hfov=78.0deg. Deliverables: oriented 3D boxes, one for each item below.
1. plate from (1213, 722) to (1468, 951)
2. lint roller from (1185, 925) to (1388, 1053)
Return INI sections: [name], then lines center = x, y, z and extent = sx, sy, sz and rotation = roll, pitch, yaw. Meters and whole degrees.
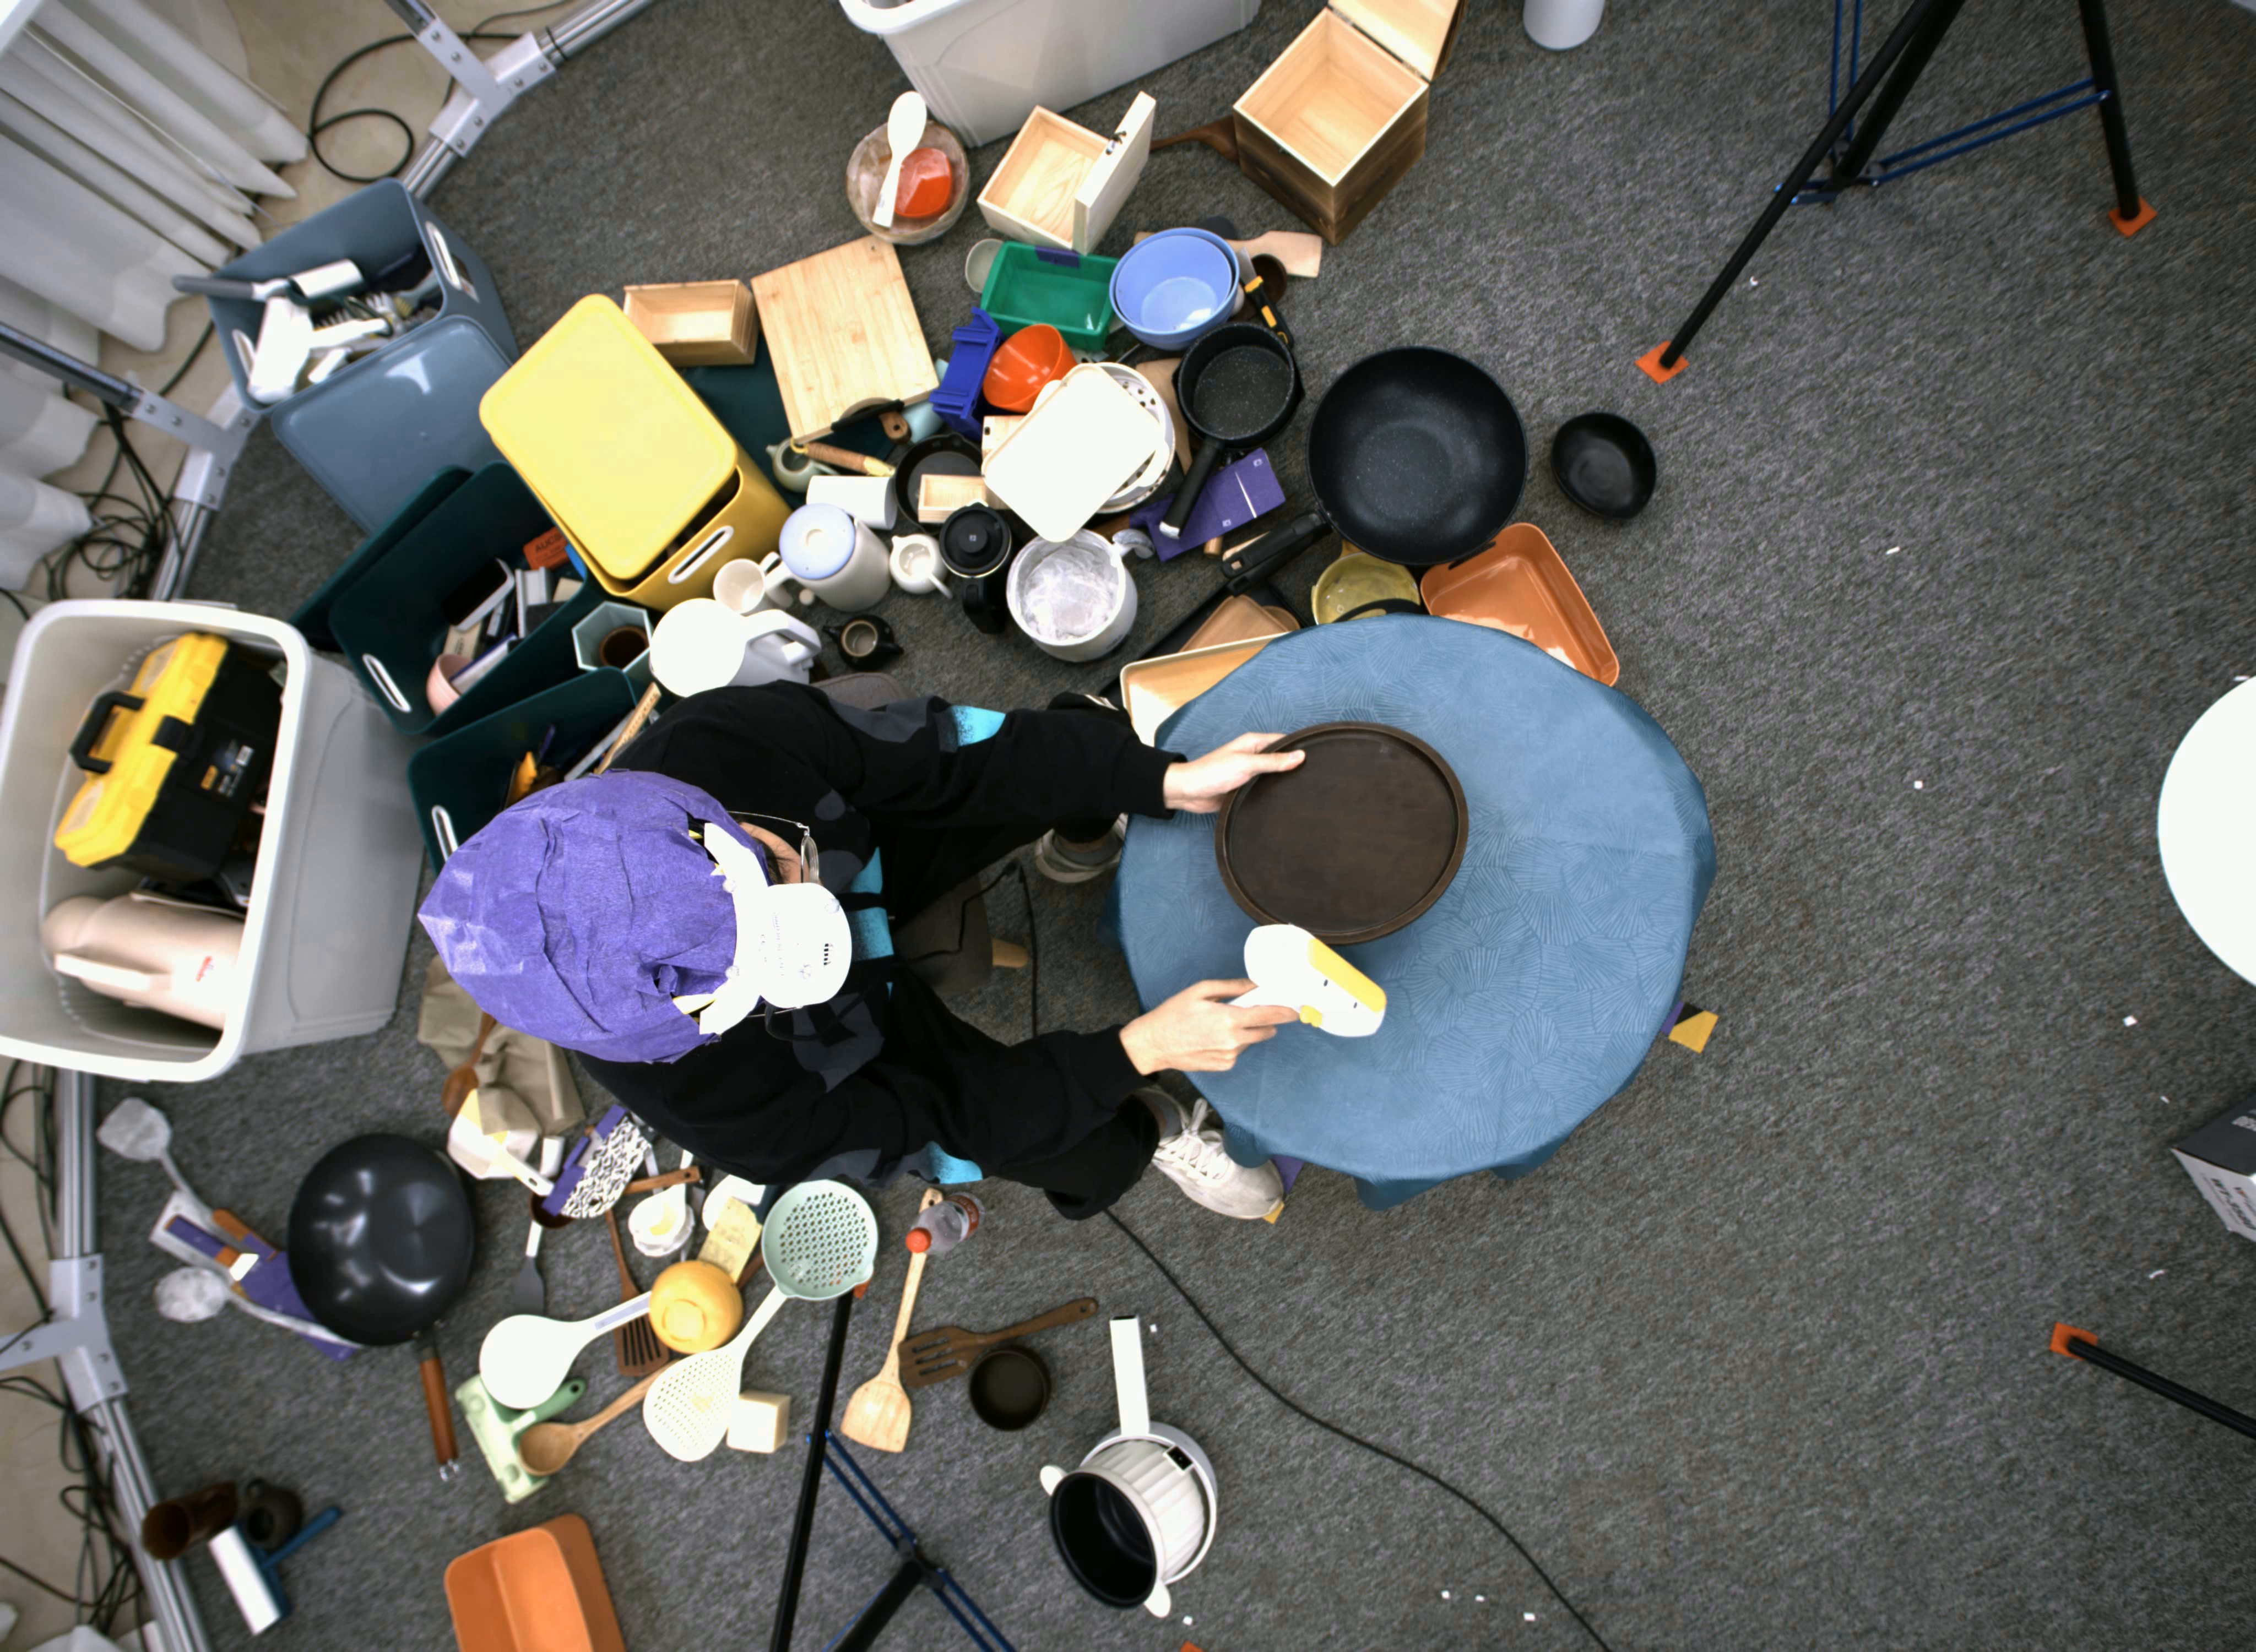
[plate]
center = 0.209, 0.007, 1.367
extent = 0.256, 0.029, 0.249
rotation = -9, 62, 16
[lint roller]
center = 0.135, 0.172, 1.357
extent = 0.195, 0.194, 0.072
rotation = -22, 54, 37
